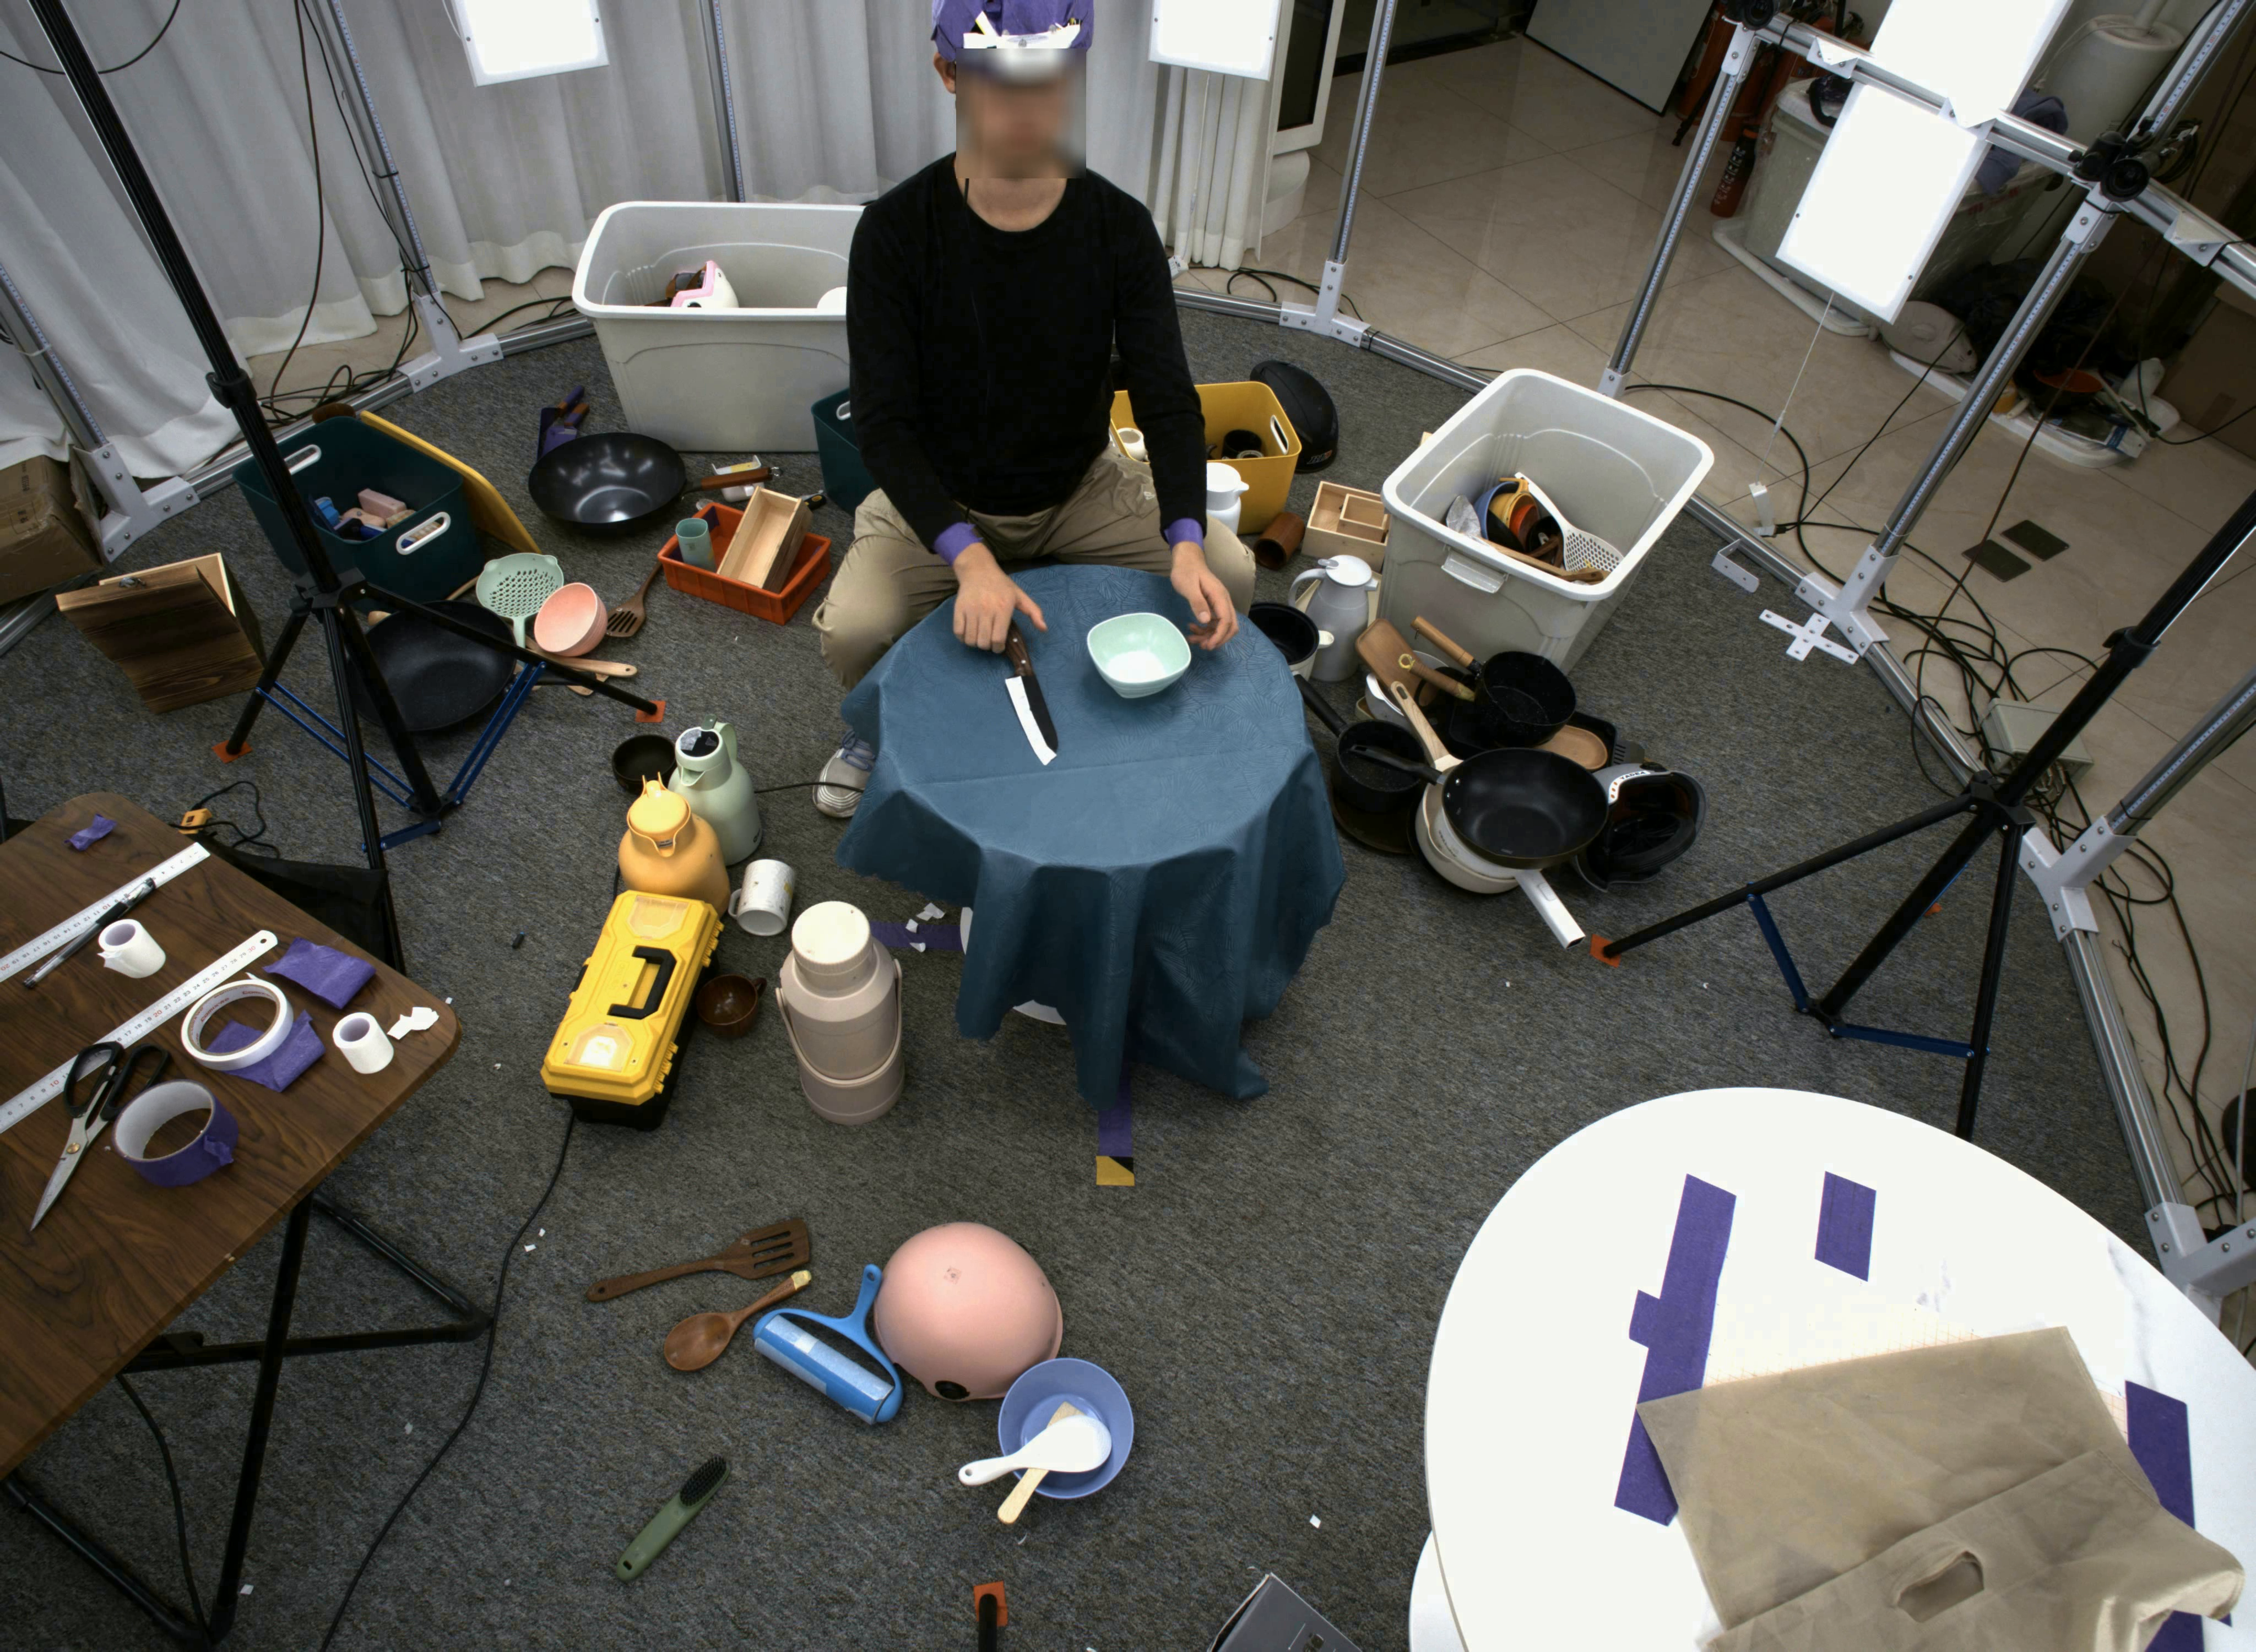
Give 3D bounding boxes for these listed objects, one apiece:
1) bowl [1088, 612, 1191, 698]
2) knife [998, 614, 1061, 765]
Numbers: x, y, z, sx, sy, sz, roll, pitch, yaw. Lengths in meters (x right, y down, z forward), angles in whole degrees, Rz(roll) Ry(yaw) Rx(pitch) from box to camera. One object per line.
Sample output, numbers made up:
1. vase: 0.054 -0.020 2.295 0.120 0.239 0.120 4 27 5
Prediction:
1. bowl: 0.014 -0.236 1.839 0.151 0.057 0.155 2 51 -3
2. knife: -0.143 -0.196 1.821 0.050 0.019 0.296 -12 53 -9
